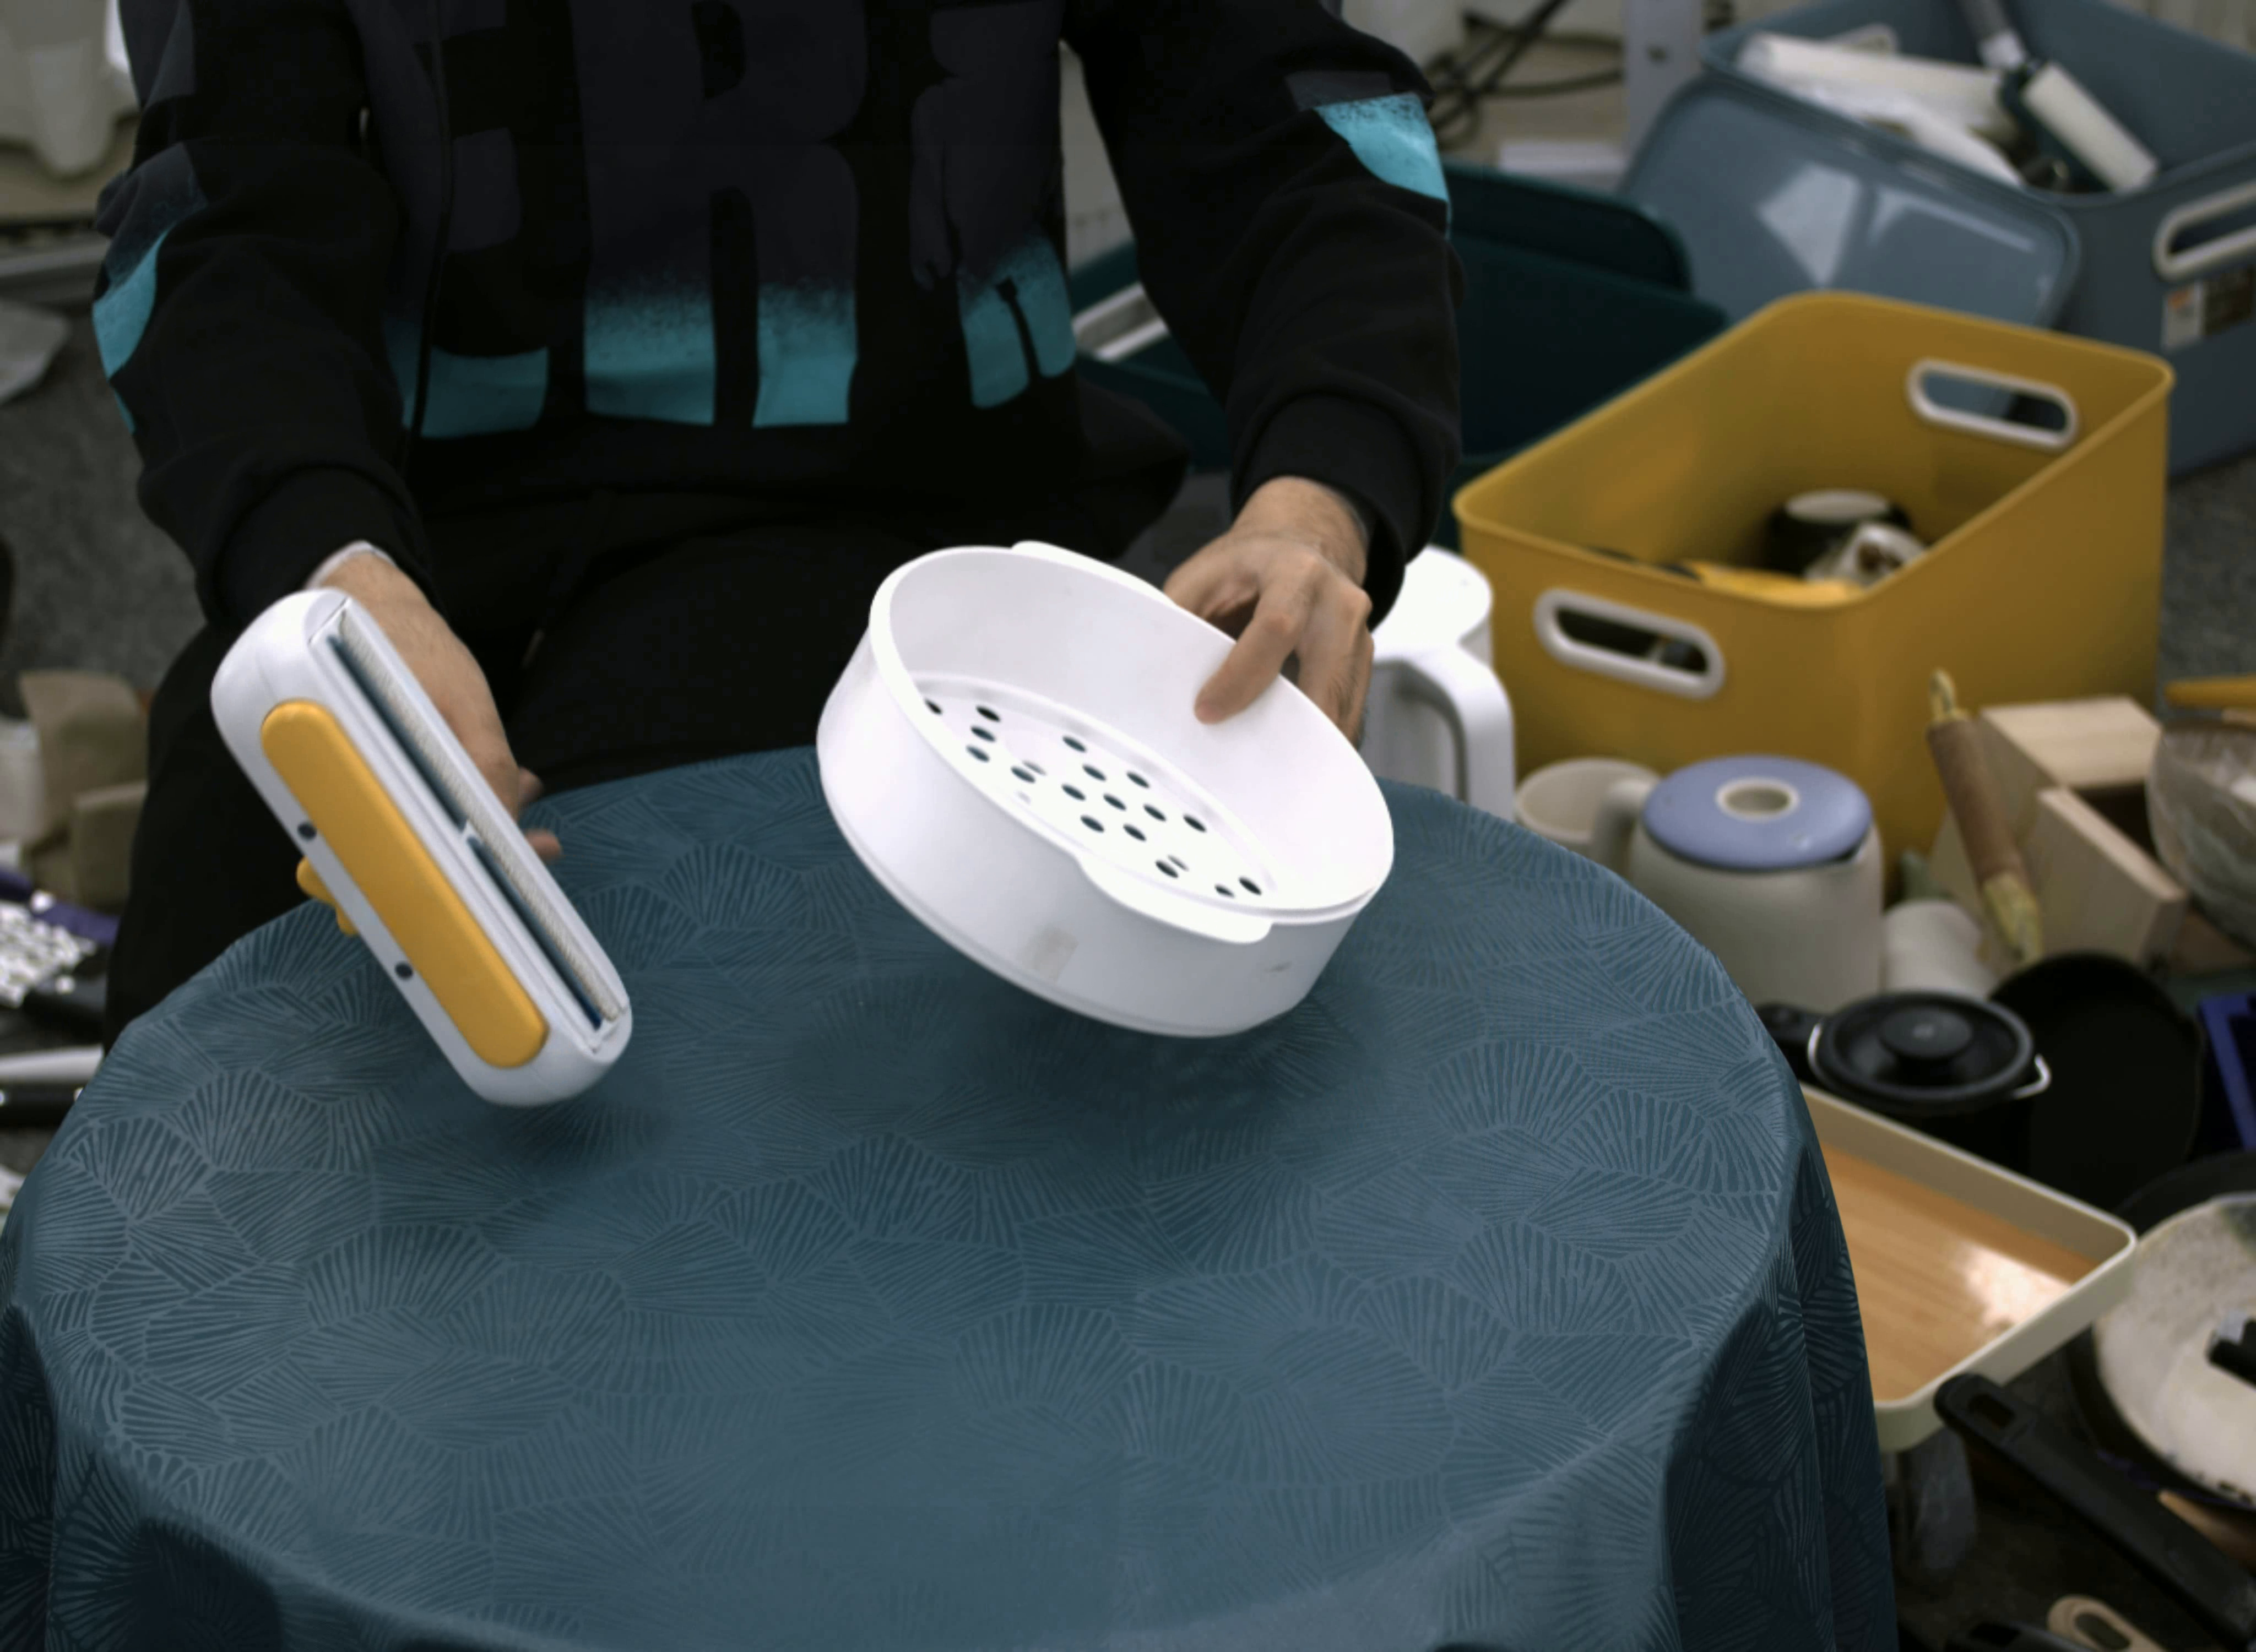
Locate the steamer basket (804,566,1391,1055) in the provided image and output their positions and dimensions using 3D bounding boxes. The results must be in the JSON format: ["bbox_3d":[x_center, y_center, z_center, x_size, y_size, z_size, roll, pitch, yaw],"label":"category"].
[{"bbox_3d":[-0.011,-0.004,1.920,0.201,0.068,0.234,21,26,-20],"label":"steamer basket"}]

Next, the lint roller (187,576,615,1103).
[{"bbox_3d":[-0.241,-0.003,1.933,0.073,0.192,0.194,-36,8,12],"label":"lint roller"}]
